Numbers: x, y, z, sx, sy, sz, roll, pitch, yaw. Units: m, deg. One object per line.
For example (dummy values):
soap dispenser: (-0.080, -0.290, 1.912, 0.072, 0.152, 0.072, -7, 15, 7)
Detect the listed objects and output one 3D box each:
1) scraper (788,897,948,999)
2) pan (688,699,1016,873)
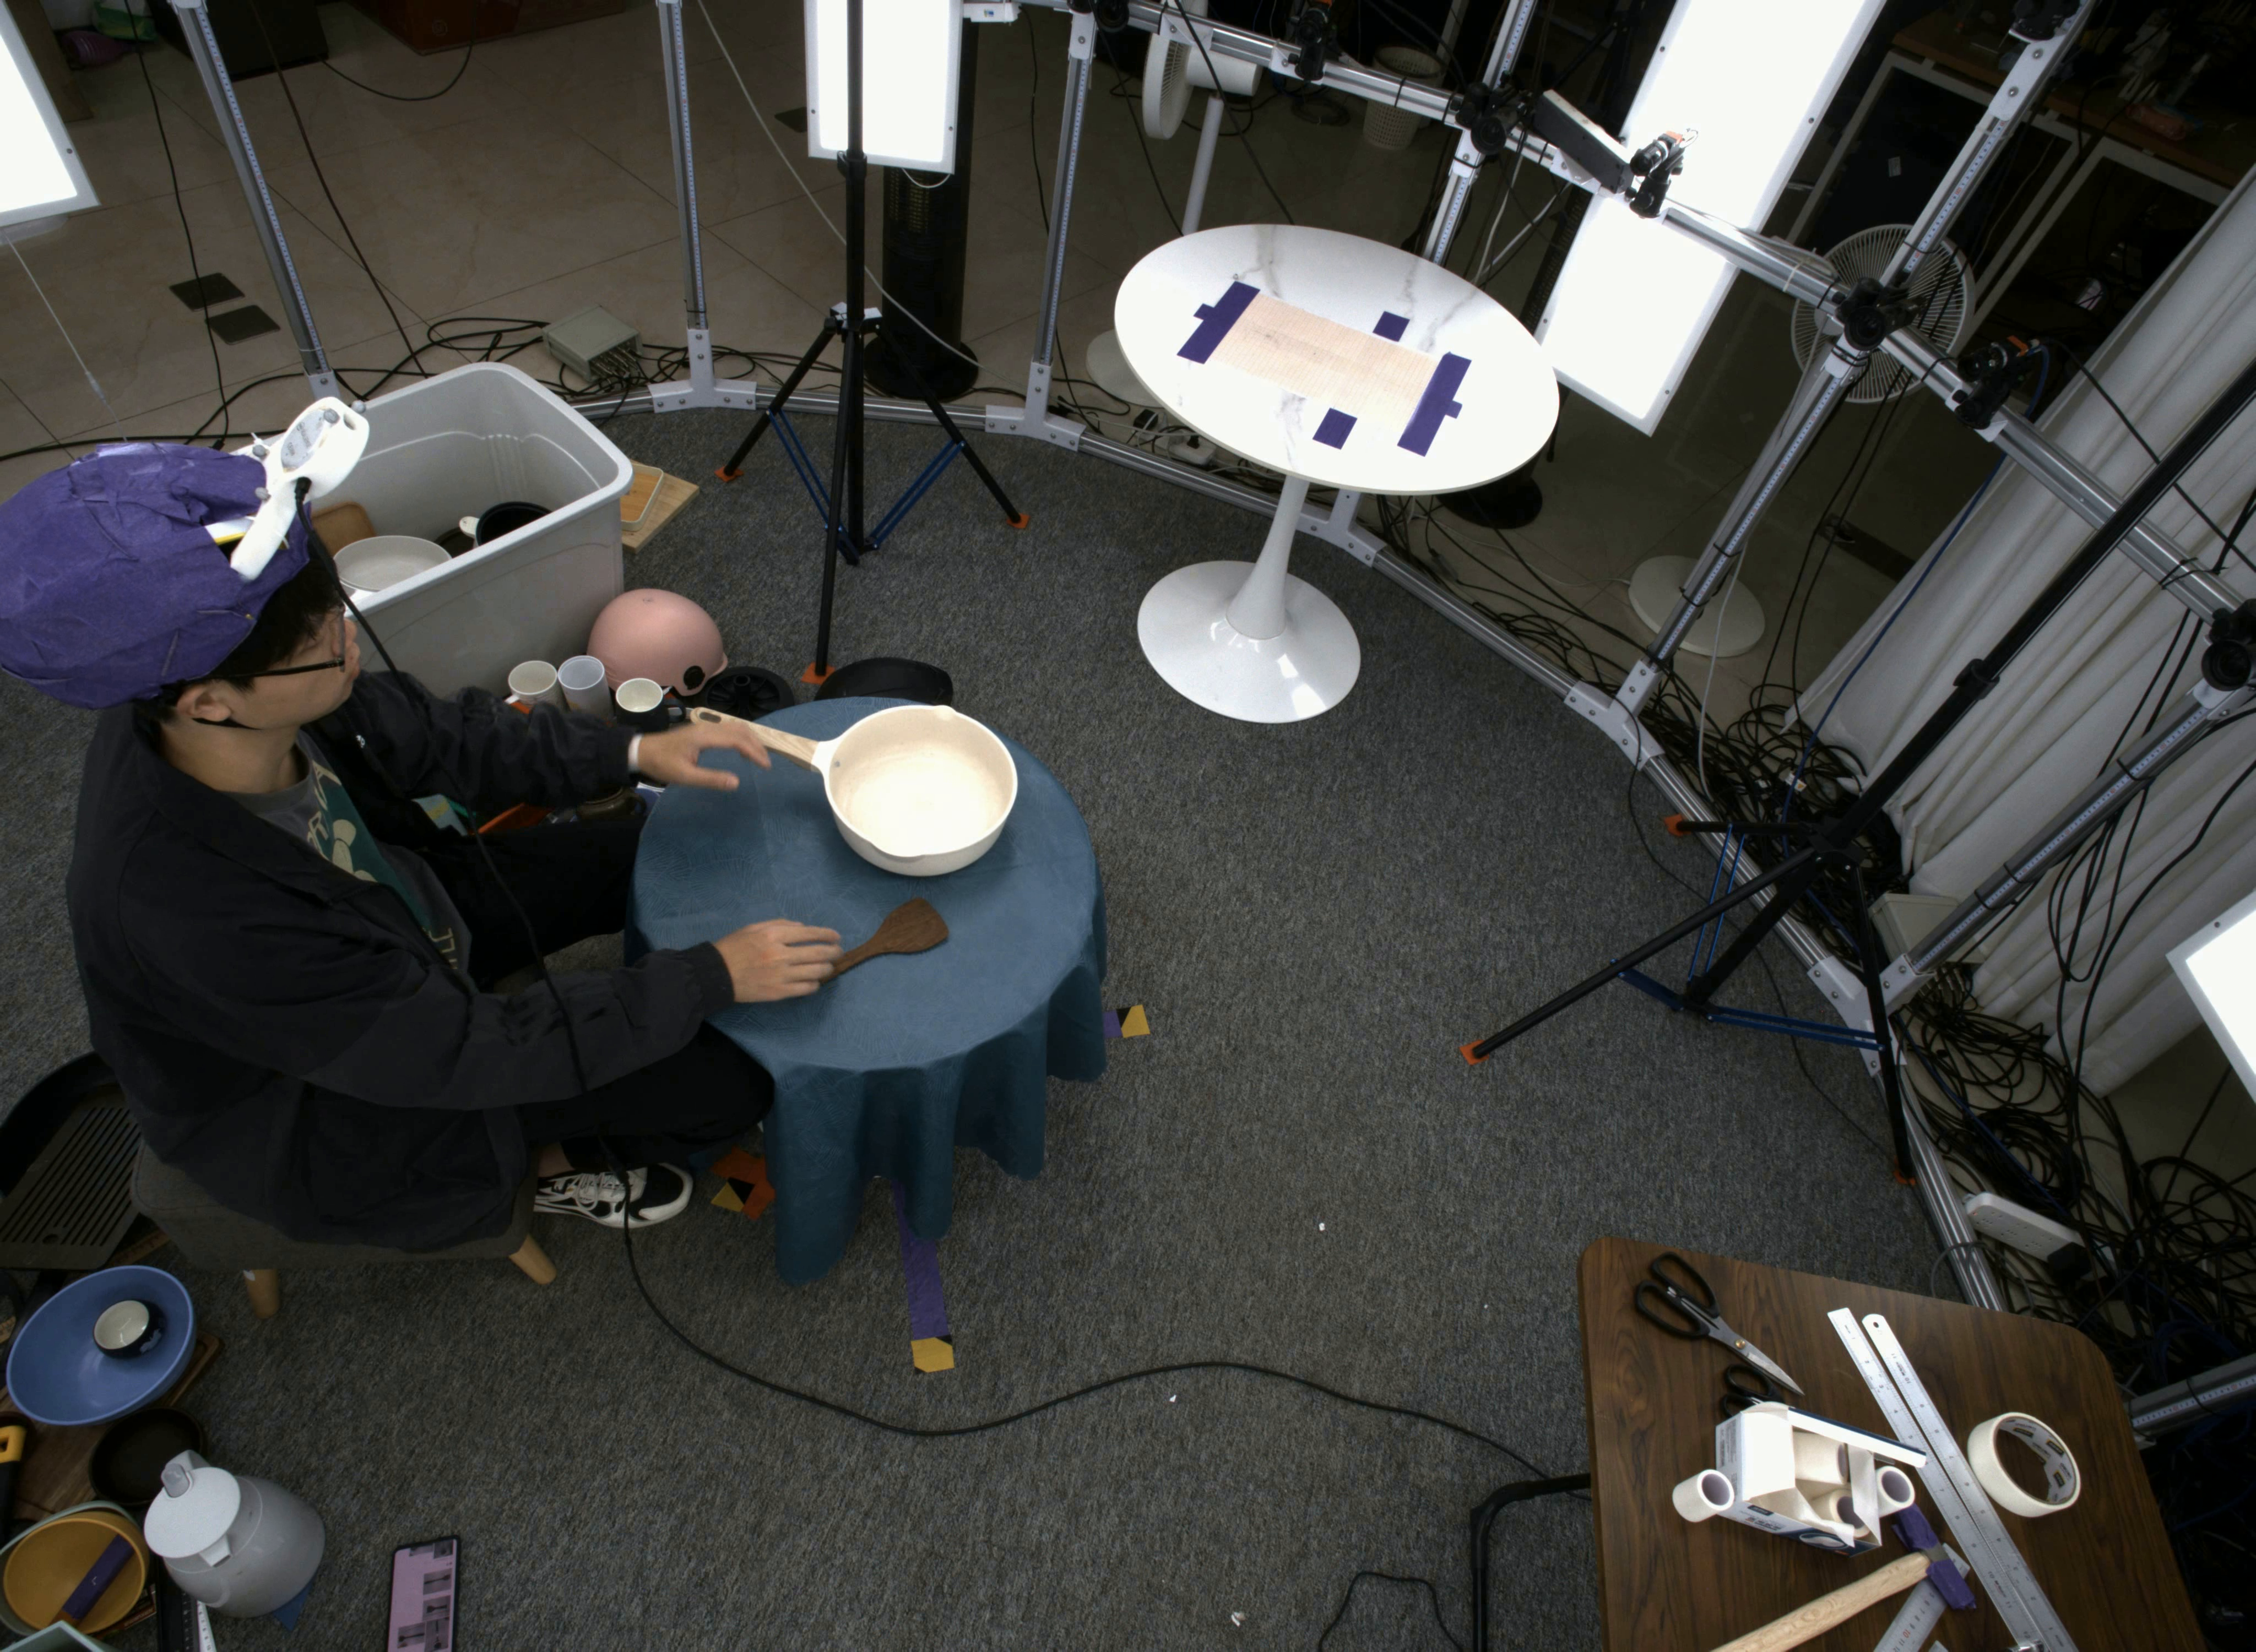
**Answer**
scraper: (-0.328, 0.157, 1.628, 0.212, 0.011, 0.074, -28, 63, -28)
pan: (-0.366, -0.070, 1.728, 0.432, 0.104, 0.260, 12, 54, -4)
